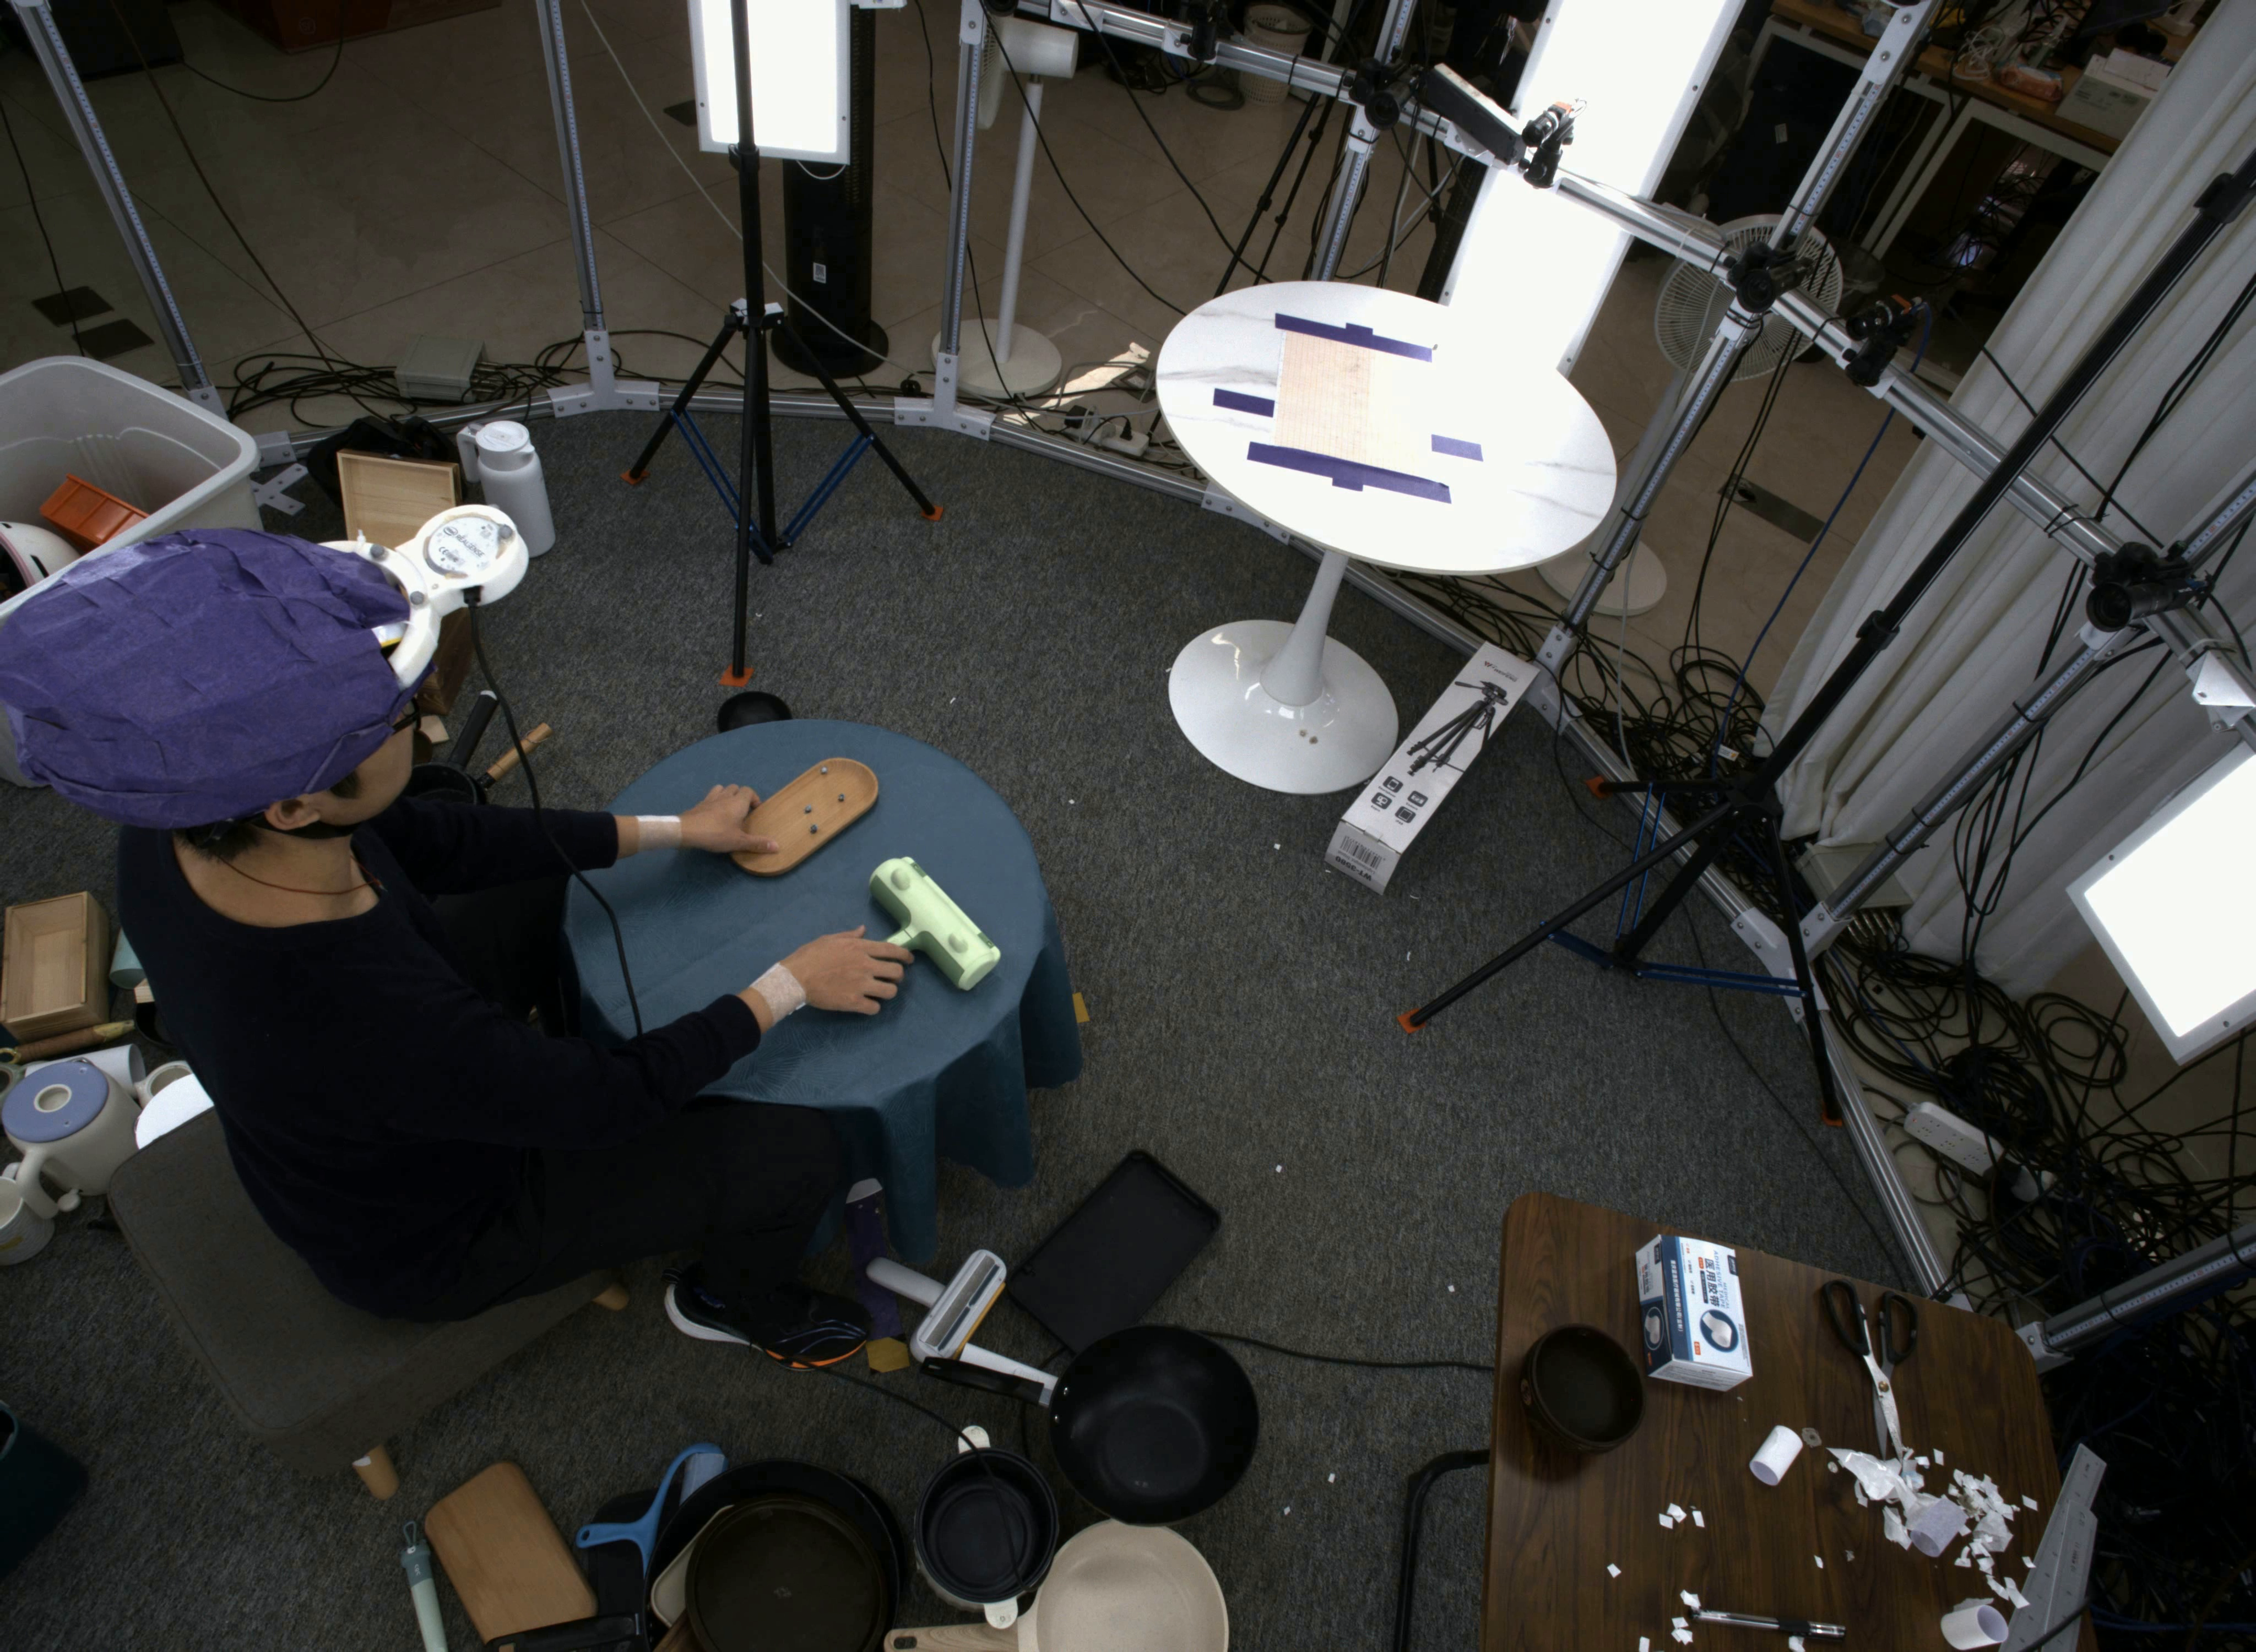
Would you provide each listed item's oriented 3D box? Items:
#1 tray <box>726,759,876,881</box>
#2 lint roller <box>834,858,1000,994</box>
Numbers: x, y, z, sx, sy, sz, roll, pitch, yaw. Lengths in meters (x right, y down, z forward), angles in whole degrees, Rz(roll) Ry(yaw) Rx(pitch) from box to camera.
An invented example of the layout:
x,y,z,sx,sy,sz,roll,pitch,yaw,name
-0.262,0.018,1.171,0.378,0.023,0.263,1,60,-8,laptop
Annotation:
x,y,z,sx,sy,sz,roll,pitch,yaw,name
-0.429,-0.011,1.711,0.100,0.021,0.231,36,55,13,tray
-0.283,0.136,1.593,0.194,0.084,0.184,43,49,19,lint roller
